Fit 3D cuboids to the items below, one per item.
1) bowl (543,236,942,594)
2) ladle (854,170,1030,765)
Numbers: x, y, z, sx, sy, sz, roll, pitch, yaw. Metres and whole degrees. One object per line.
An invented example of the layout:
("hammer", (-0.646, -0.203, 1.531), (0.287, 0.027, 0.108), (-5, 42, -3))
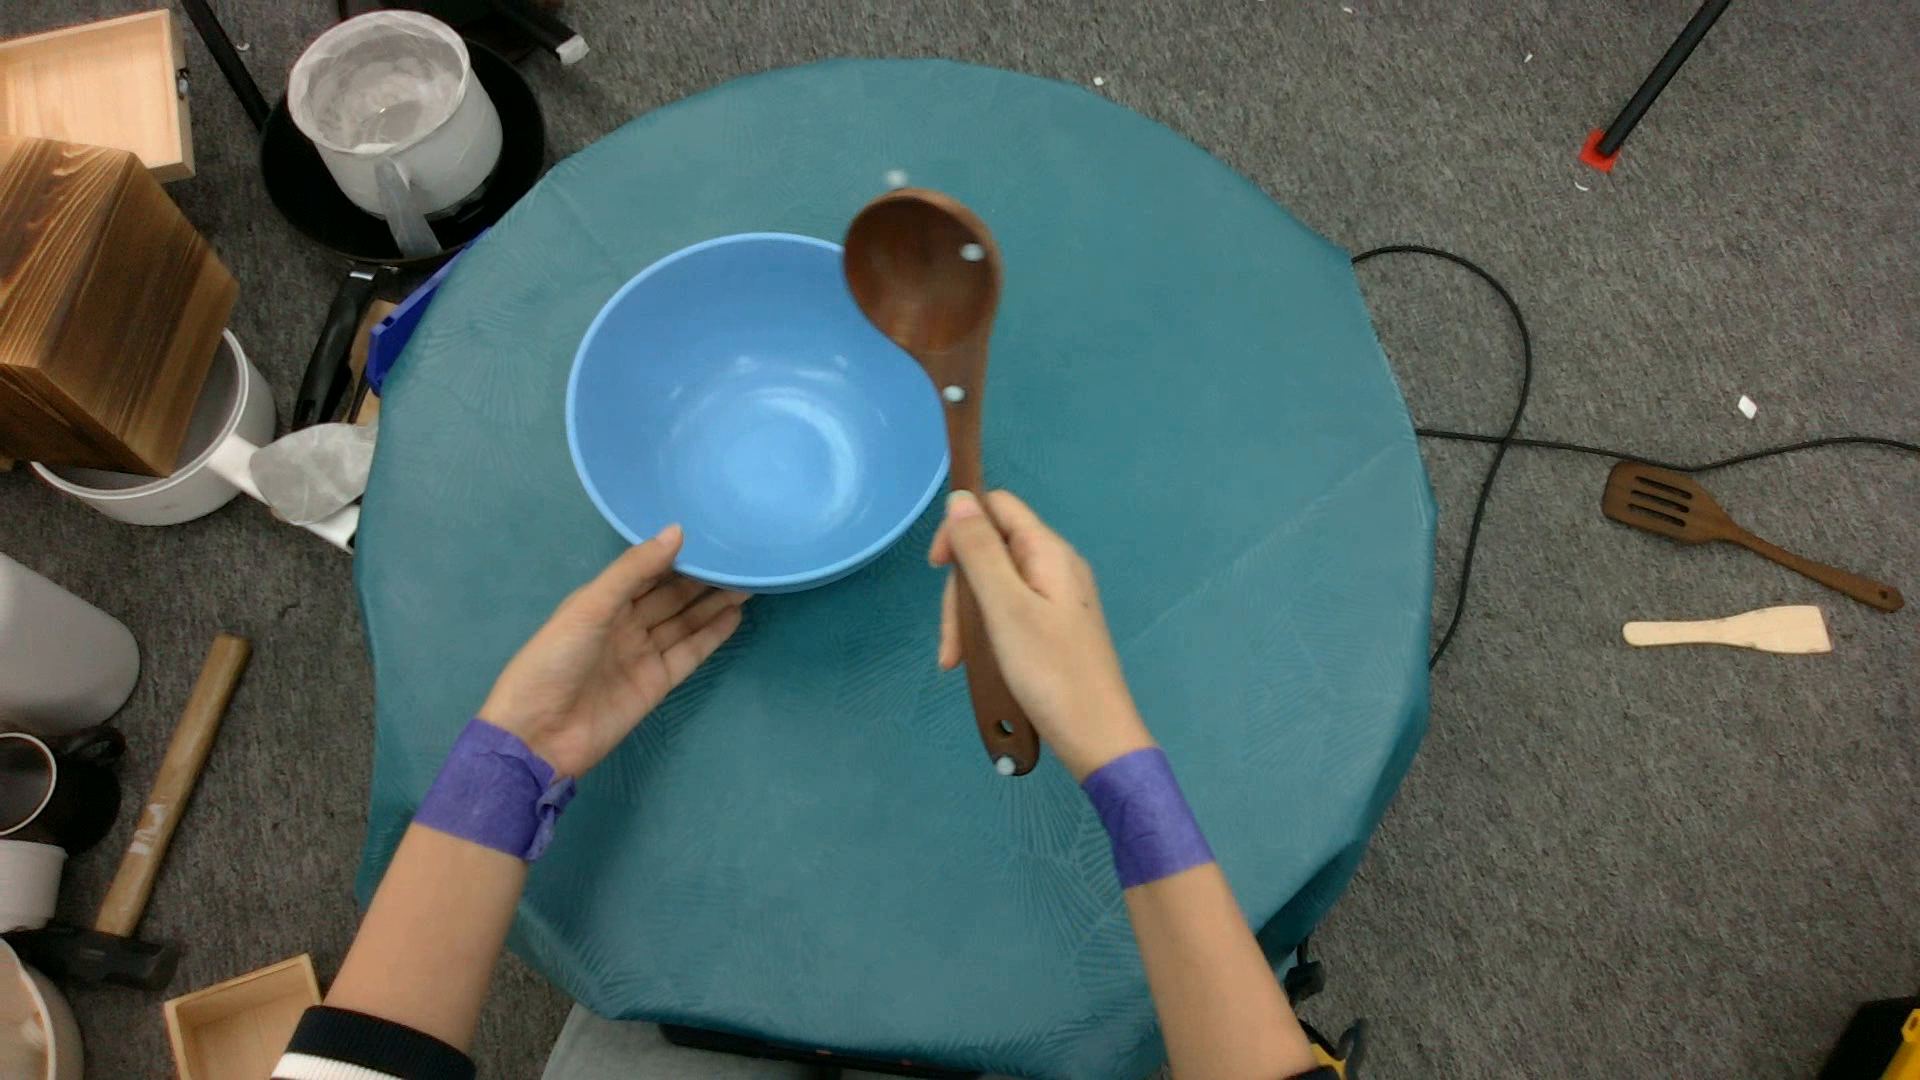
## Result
("bowl", (-0.114, -0.053, 0.727), (0.196, 0.095, 0.197), (4, 66, -9))
("ladle", (-0.001, -0.033, 0.600), (0.076, 0.065, 0.260), (-10, 78, 24))
